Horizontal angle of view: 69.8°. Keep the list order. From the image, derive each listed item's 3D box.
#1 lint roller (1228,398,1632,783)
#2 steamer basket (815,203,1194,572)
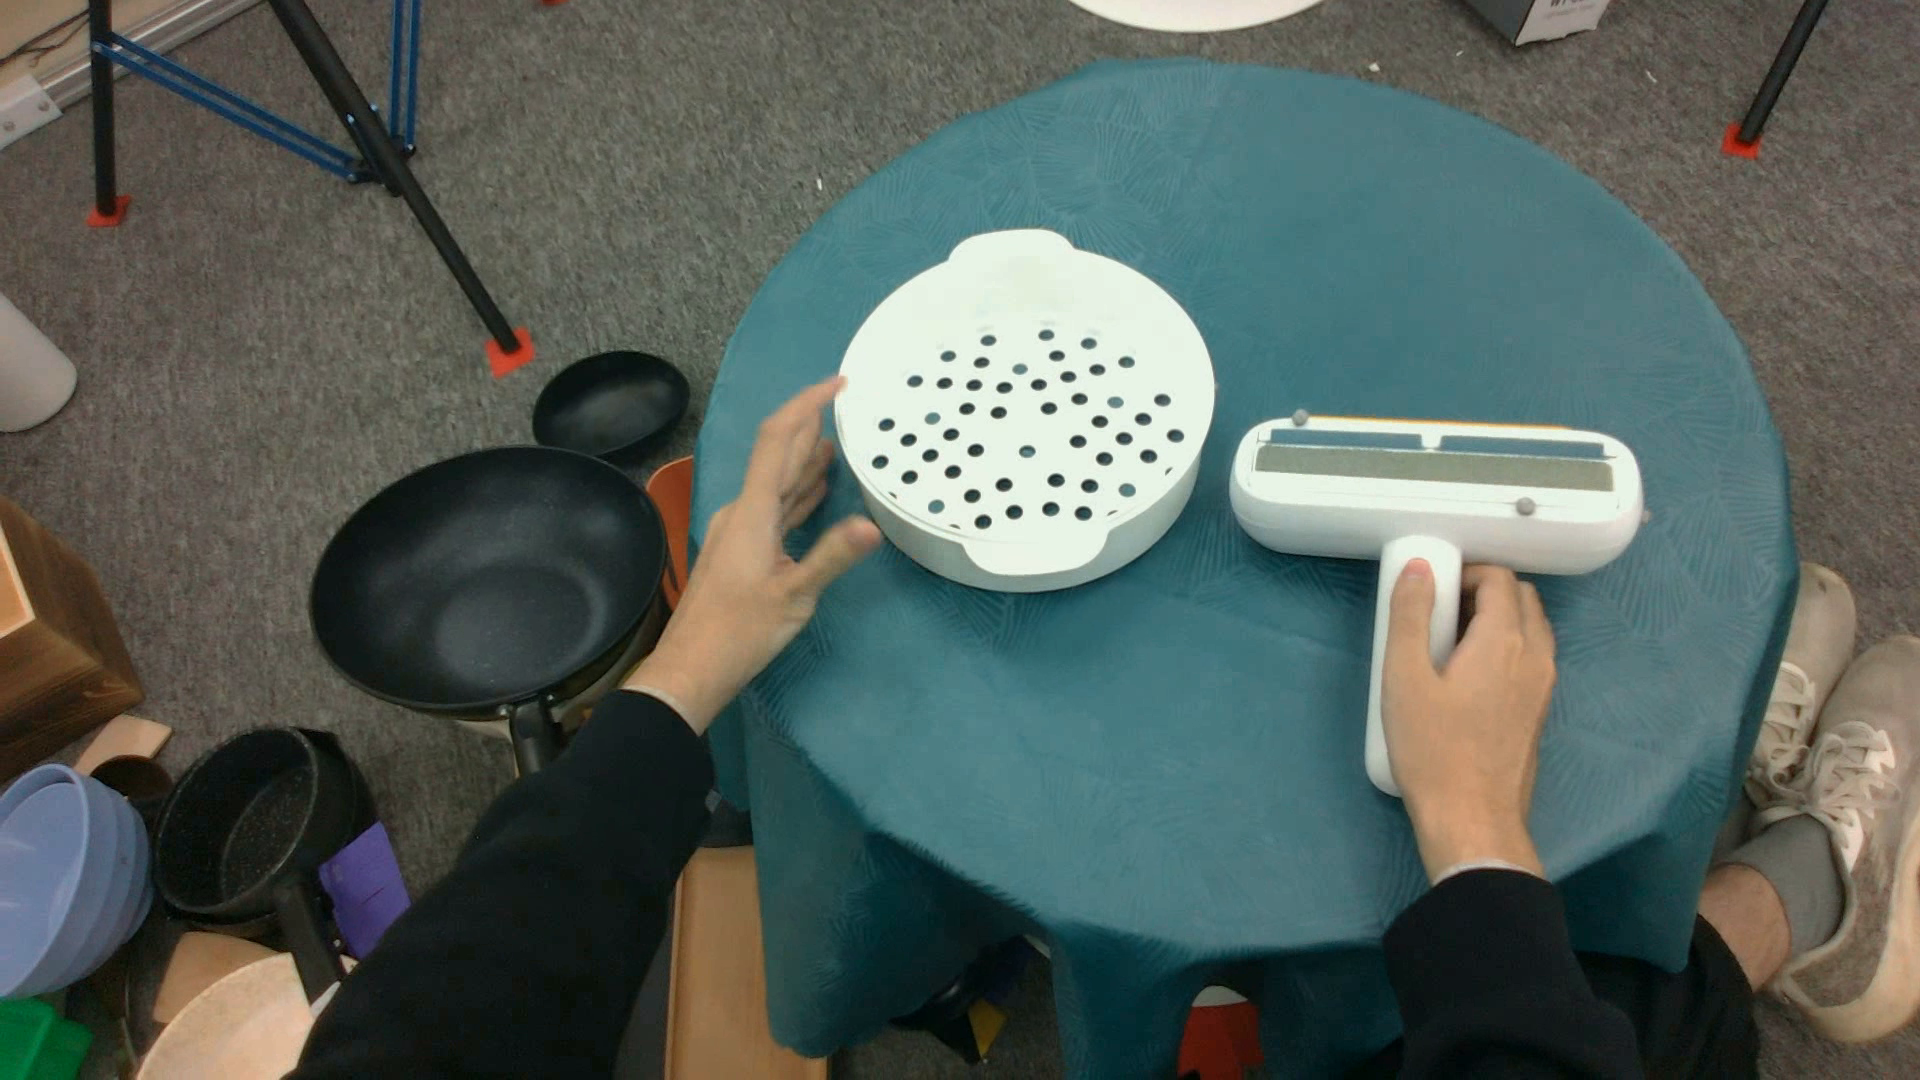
[{"bbox_3d":[0.217,0.022,0.675,0.192,0.074,0.193,11,62,15],"label":"lint roller"},{"bbox_3d":[0.025,-0.078,0.755,0.202,0.069,0.231,-5,61,3],"label":"steamer basket"}]
